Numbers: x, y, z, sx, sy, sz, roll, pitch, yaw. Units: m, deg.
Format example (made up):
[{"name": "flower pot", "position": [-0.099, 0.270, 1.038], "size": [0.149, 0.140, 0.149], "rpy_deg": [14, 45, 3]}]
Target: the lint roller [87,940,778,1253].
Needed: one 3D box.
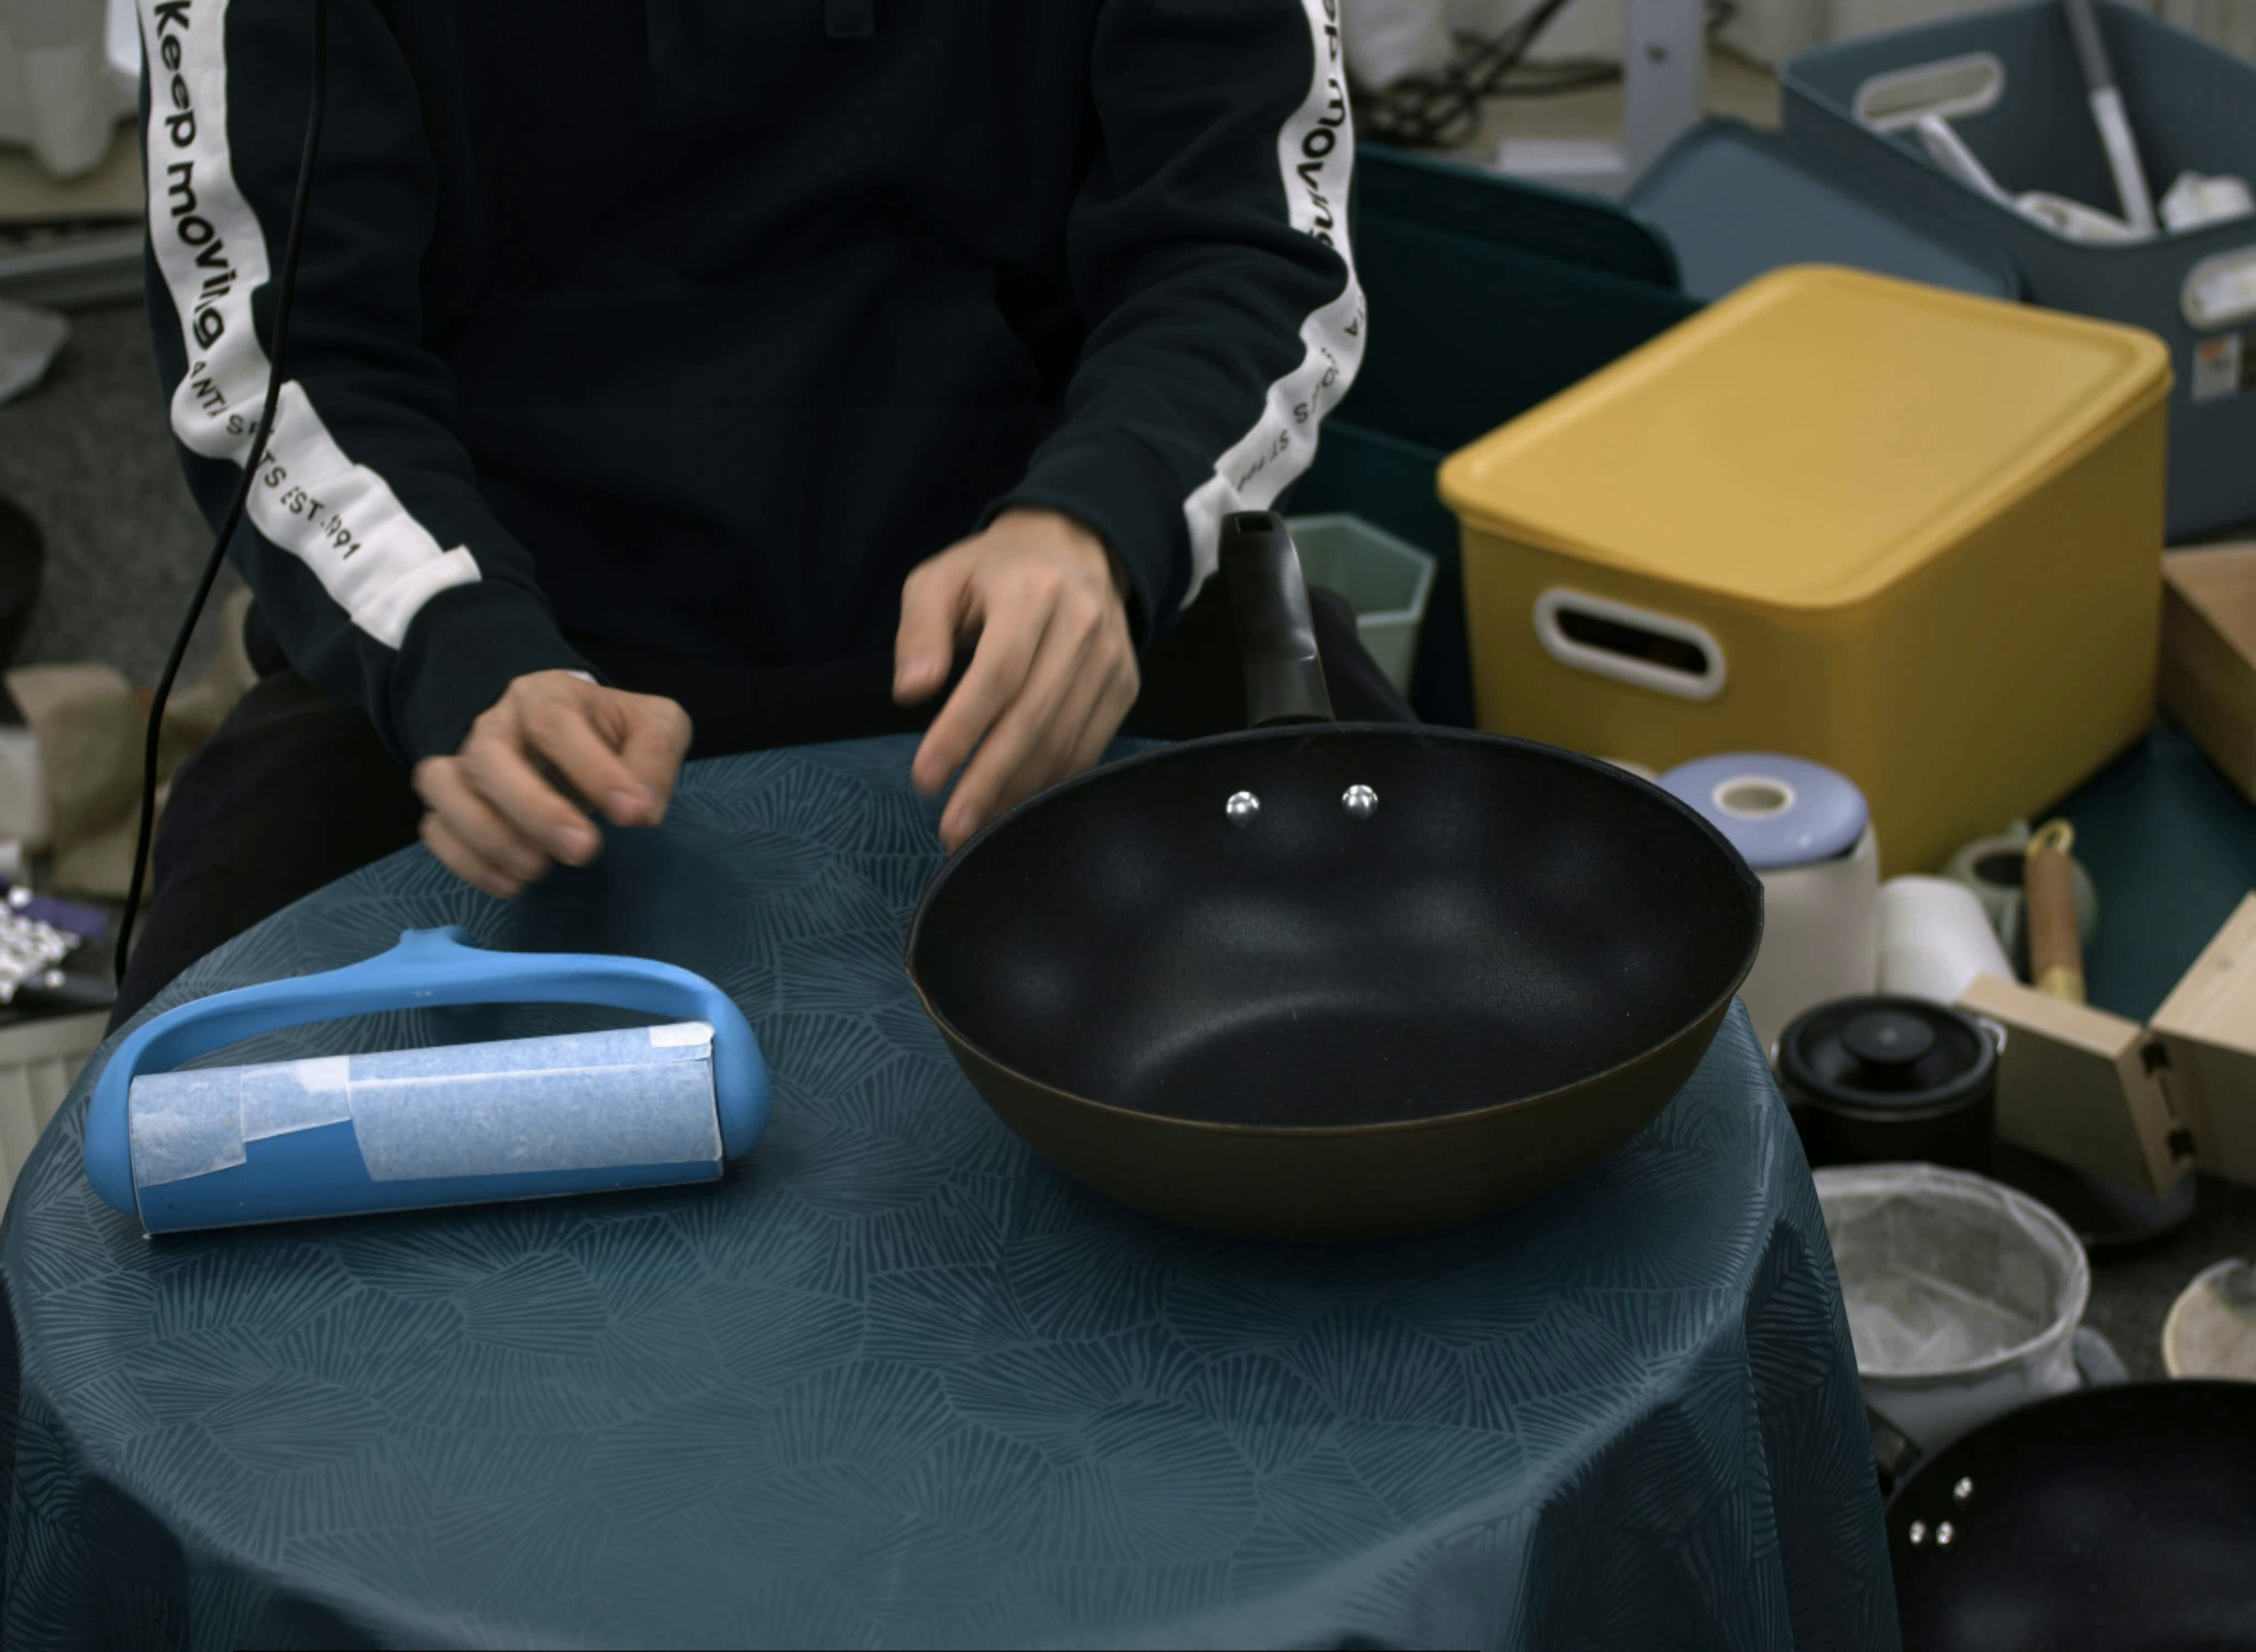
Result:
[{"name": "lint roller", "position": [-0.239, 0.075, 1.914], "size": [0.228, 0.067, 0.182], "rpy_deg": [-9, 29, -6]}]

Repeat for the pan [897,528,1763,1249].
[{"name": "pan", "position": [0.063, 0.023, 1.956], "size": [0.287, 0.086, 0.470], "rpy_deg": [-3, 27, -2]}]
